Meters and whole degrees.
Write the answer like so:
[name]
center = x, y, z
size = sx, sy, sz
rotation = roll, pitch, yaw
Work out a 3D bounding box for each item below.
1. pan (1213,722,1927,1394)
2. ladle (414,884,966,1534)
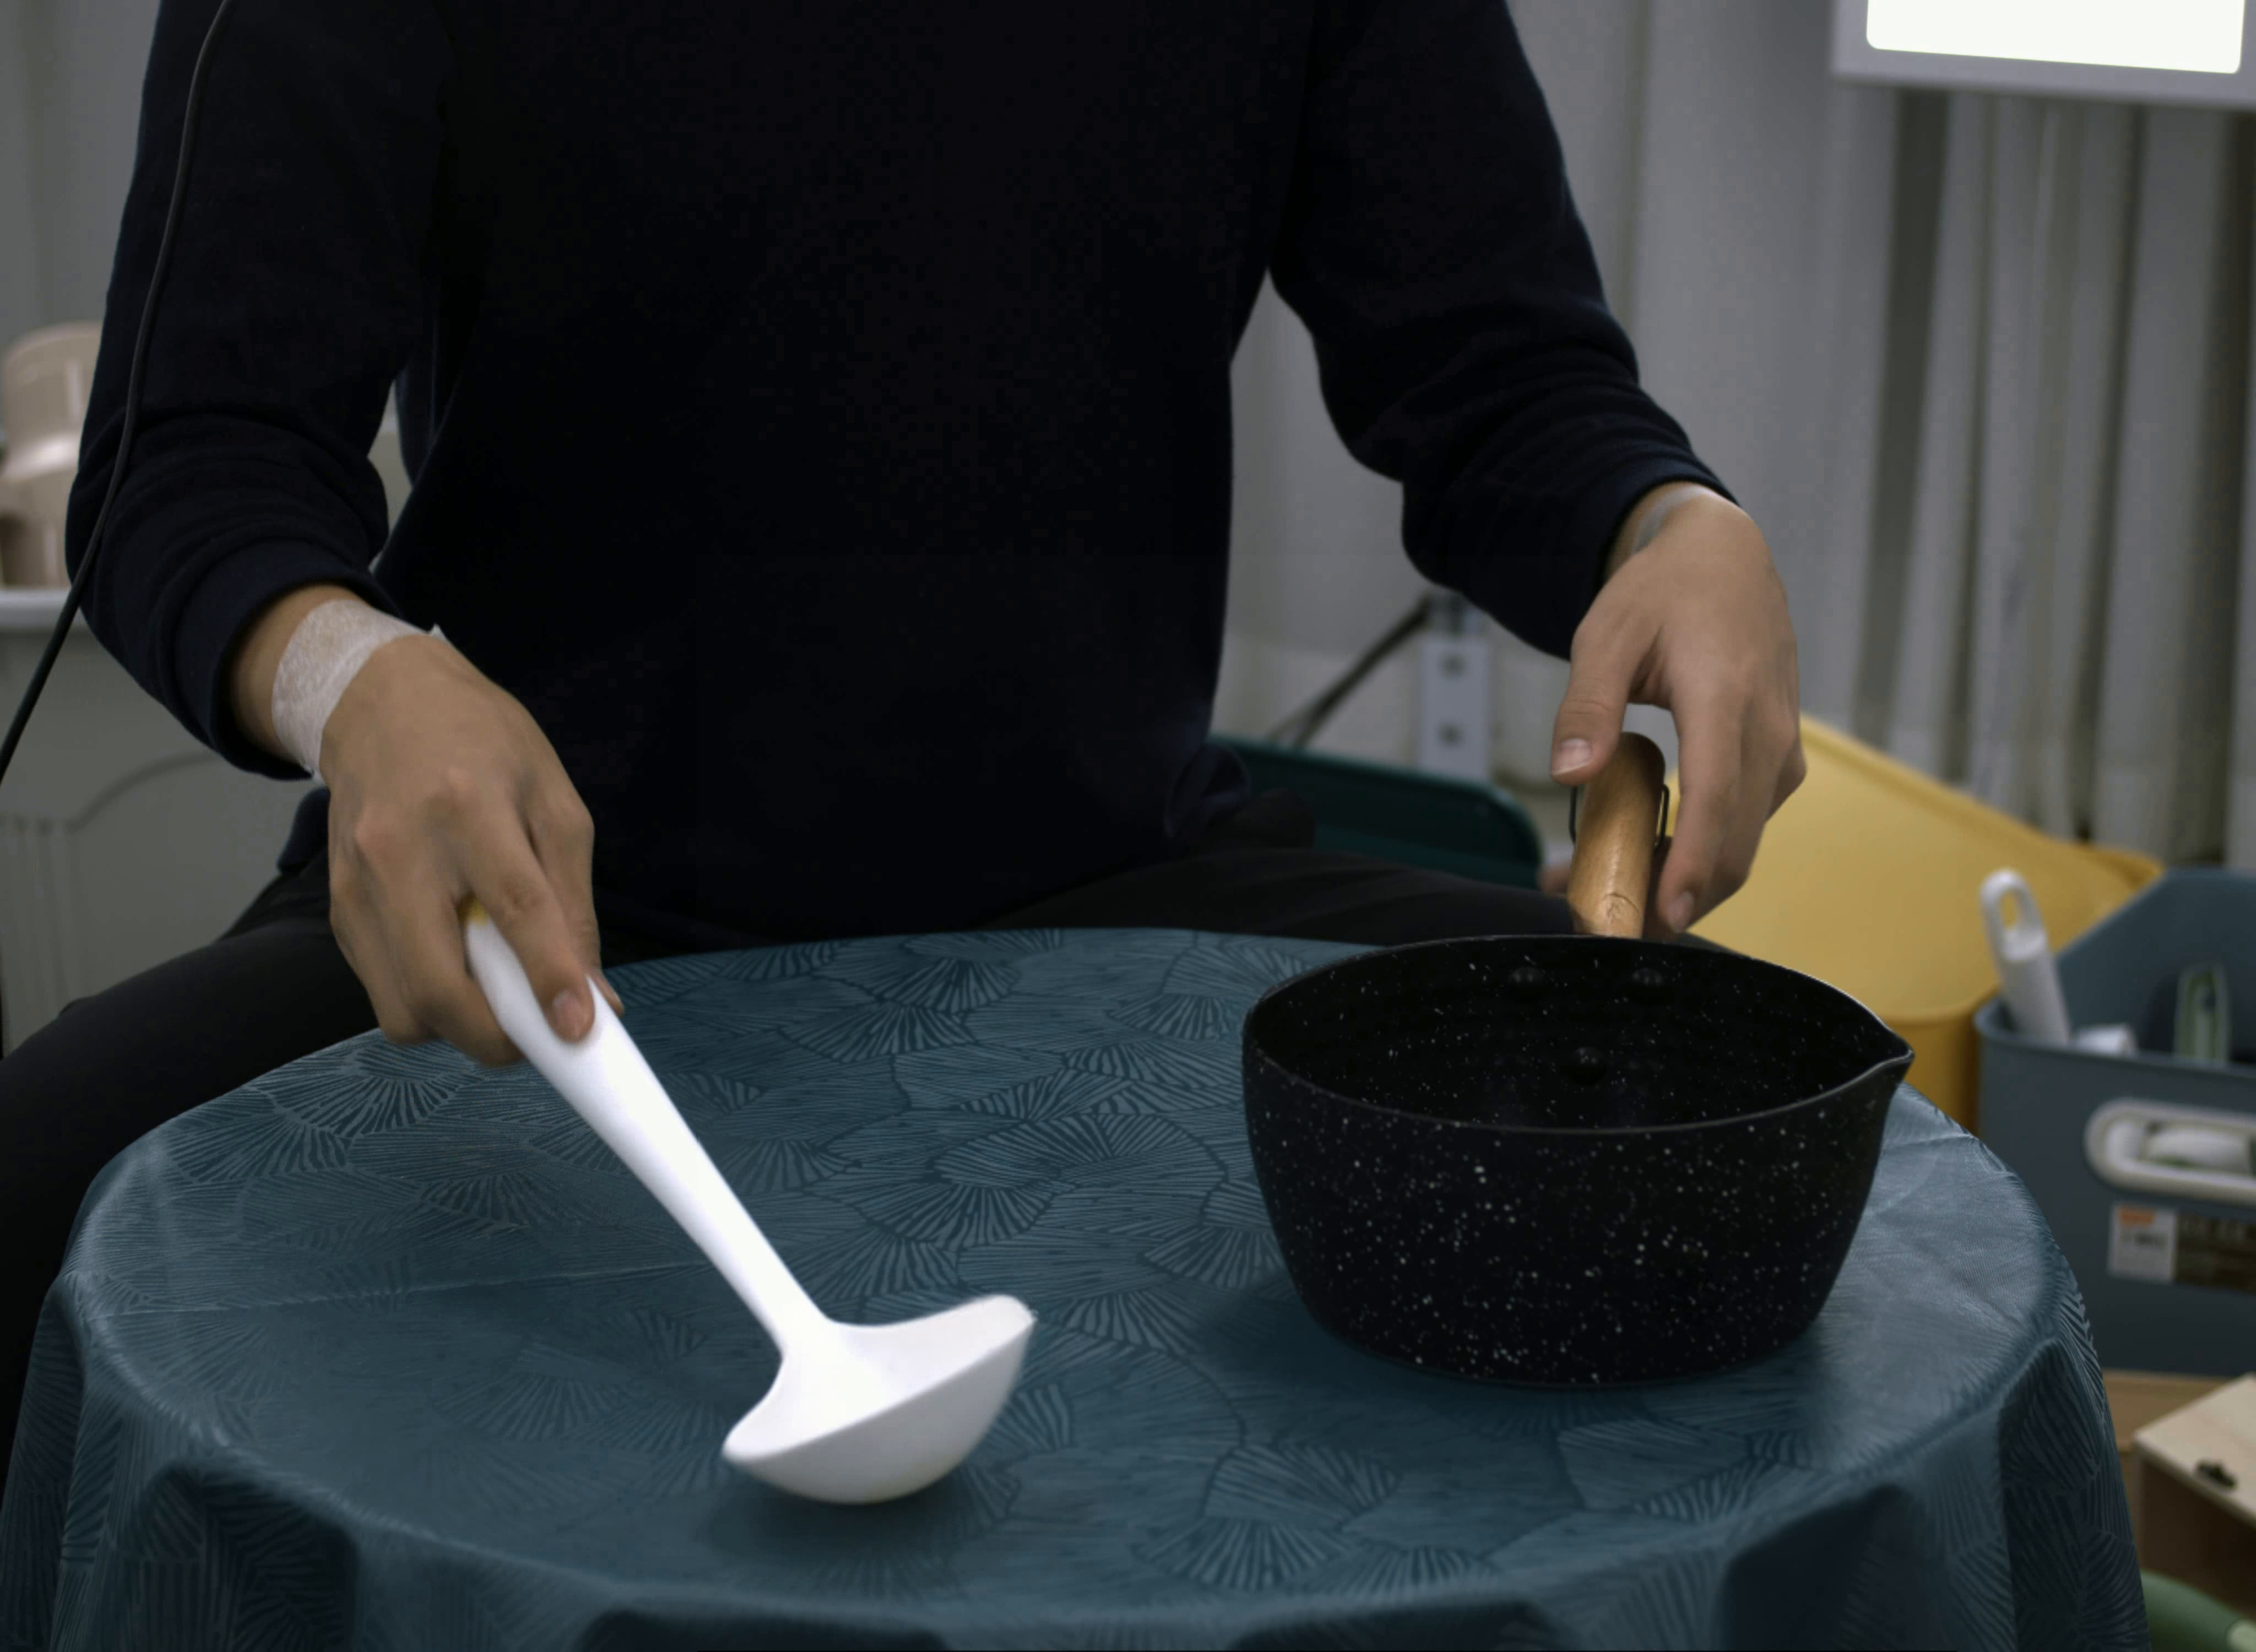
[pan]
center = 0.137, 0.064, 1.595
size = 0.206, 0.109, 0.341
rotation = 1, 17, 8
[ladle]
center = -0.133, 0.095, 1.452
size = 0.090, 0.071, 0.289
rotation = -37, 47, -6
